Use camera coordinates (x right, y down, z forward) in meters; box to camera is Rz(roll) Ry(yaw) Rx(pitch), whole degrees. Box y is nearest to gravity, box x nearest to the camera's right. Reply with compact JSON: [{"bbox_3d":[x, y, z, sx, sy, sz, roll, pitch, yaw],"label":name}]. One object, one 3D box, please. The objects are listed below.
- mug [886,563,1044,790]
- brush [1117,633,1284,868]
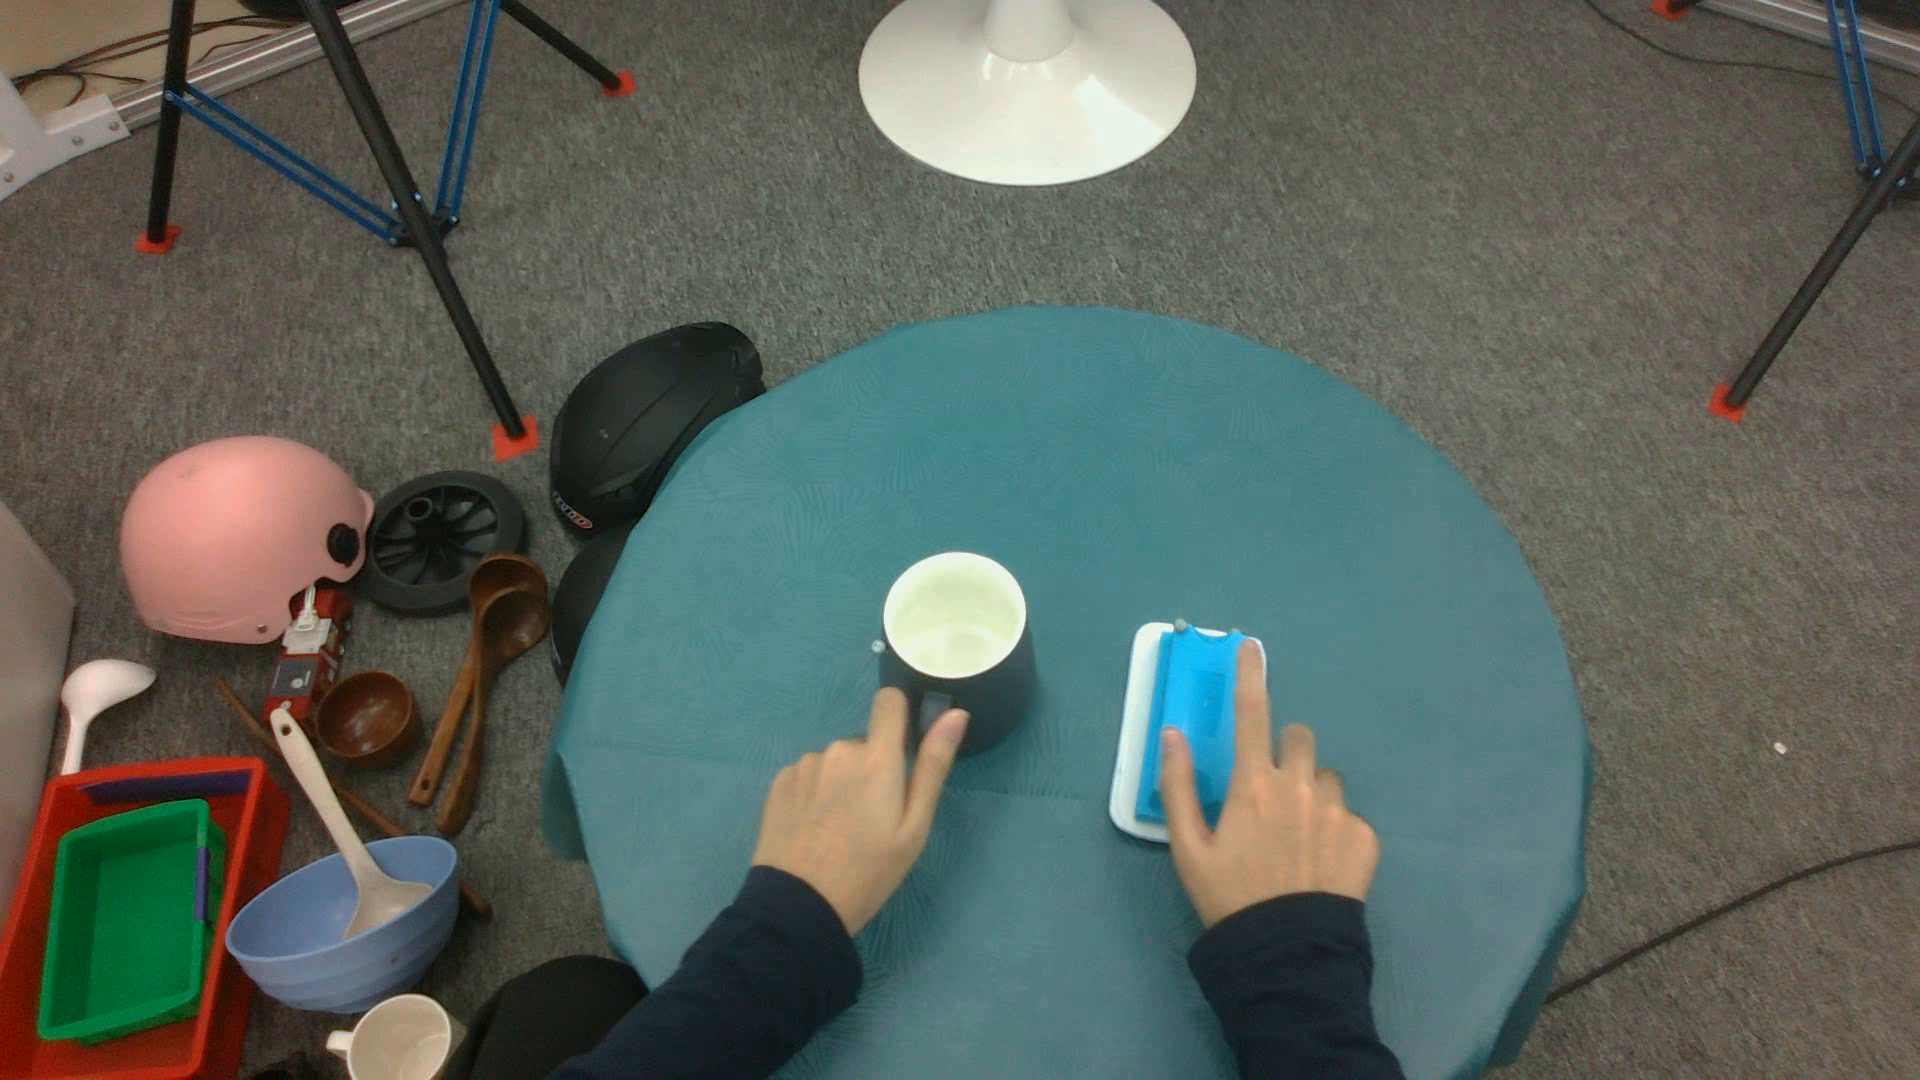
[{"bbox_3d":[-0.002,0.083,0.791,0.093,0.089,0.124,9,54,10],"label":"mug"},{"bbox_3d":[0.140,0.112,0.787,0.084,0.055,0.144,9,53,12],"label":"brush"}]
